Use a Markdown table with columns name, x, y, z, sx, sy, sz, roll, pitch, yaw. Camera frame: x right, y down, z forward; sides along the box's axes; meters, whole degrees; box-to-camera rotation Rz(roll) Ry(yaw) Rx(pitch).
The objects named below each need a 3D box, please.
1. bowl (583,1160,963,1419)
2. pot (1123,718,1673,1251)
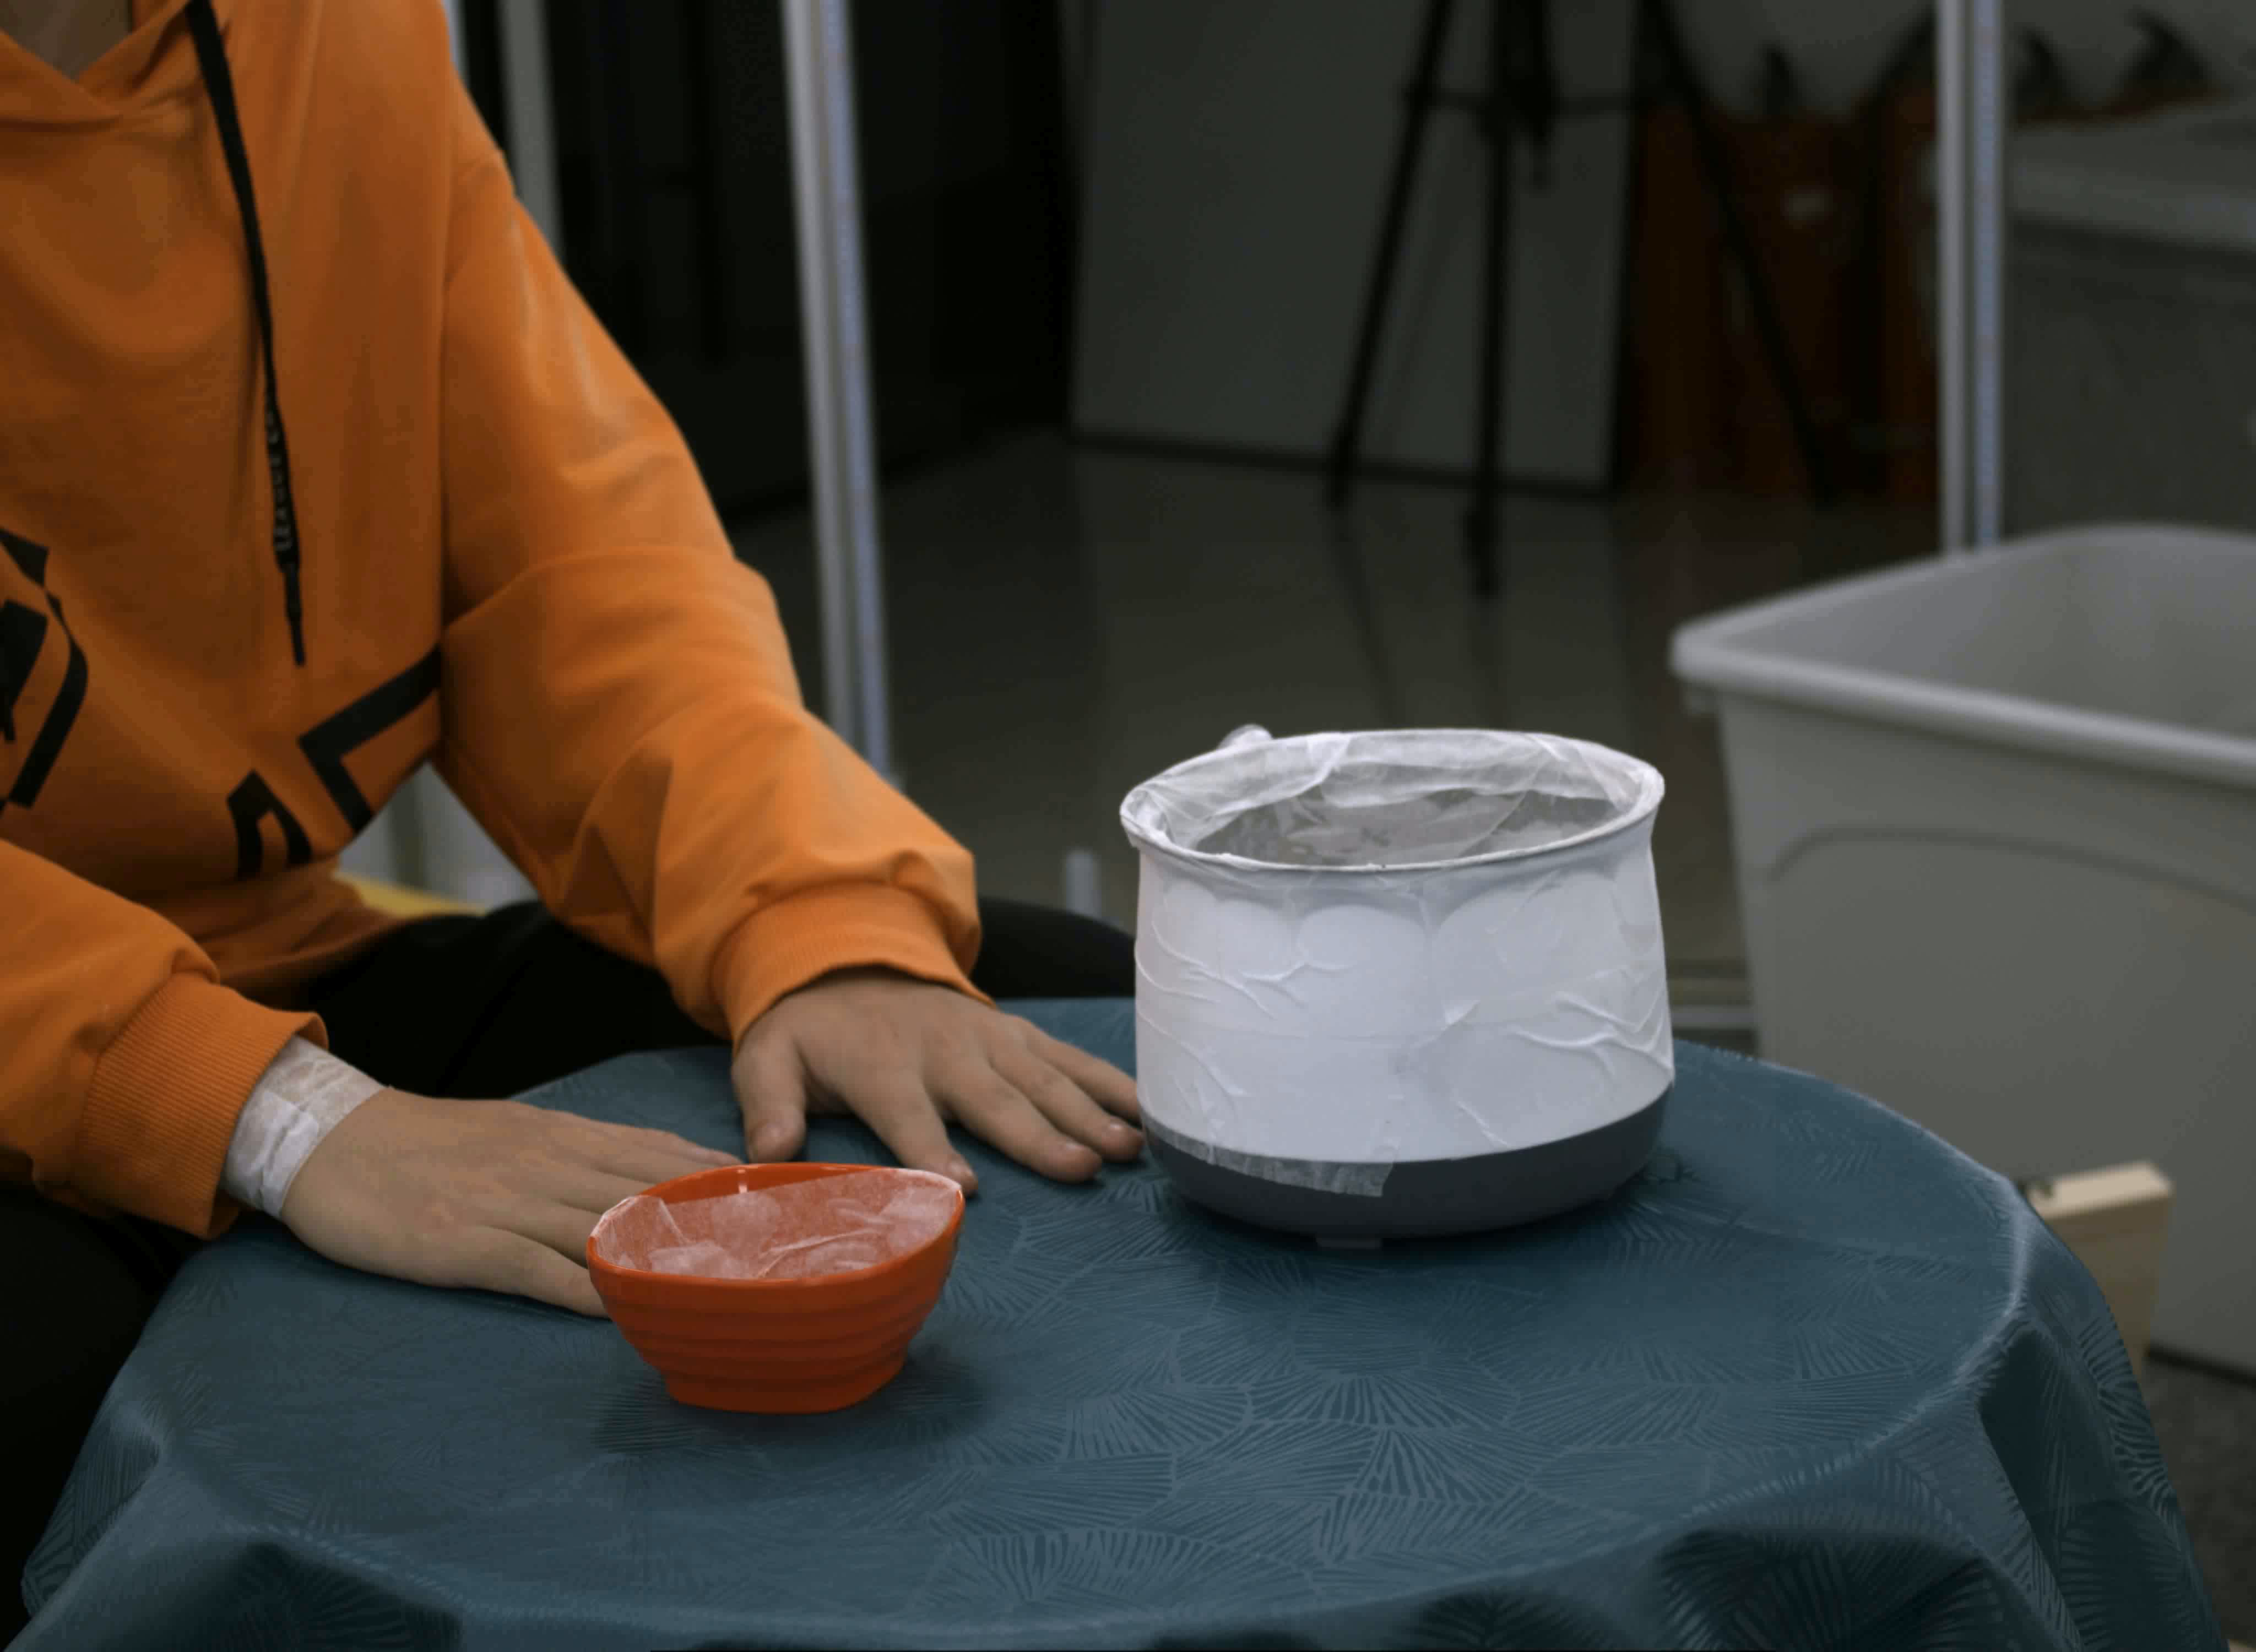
| name | x | y | z | sx | sy | sz | roll | pitch | yaw |
| --- | --- | --- | --- | --- | --- | --- | --- | --- | --- |
| bowl | -0.104 | 0.141 | 1.614 | 0.117 | 0.052 | 0.119 | -4 | 15 | 0 |
| pot | 0.075 | 0.045 | 1.768 | 0.175 | 0.138 | 0.236 | -10 | 15 | -25 |
